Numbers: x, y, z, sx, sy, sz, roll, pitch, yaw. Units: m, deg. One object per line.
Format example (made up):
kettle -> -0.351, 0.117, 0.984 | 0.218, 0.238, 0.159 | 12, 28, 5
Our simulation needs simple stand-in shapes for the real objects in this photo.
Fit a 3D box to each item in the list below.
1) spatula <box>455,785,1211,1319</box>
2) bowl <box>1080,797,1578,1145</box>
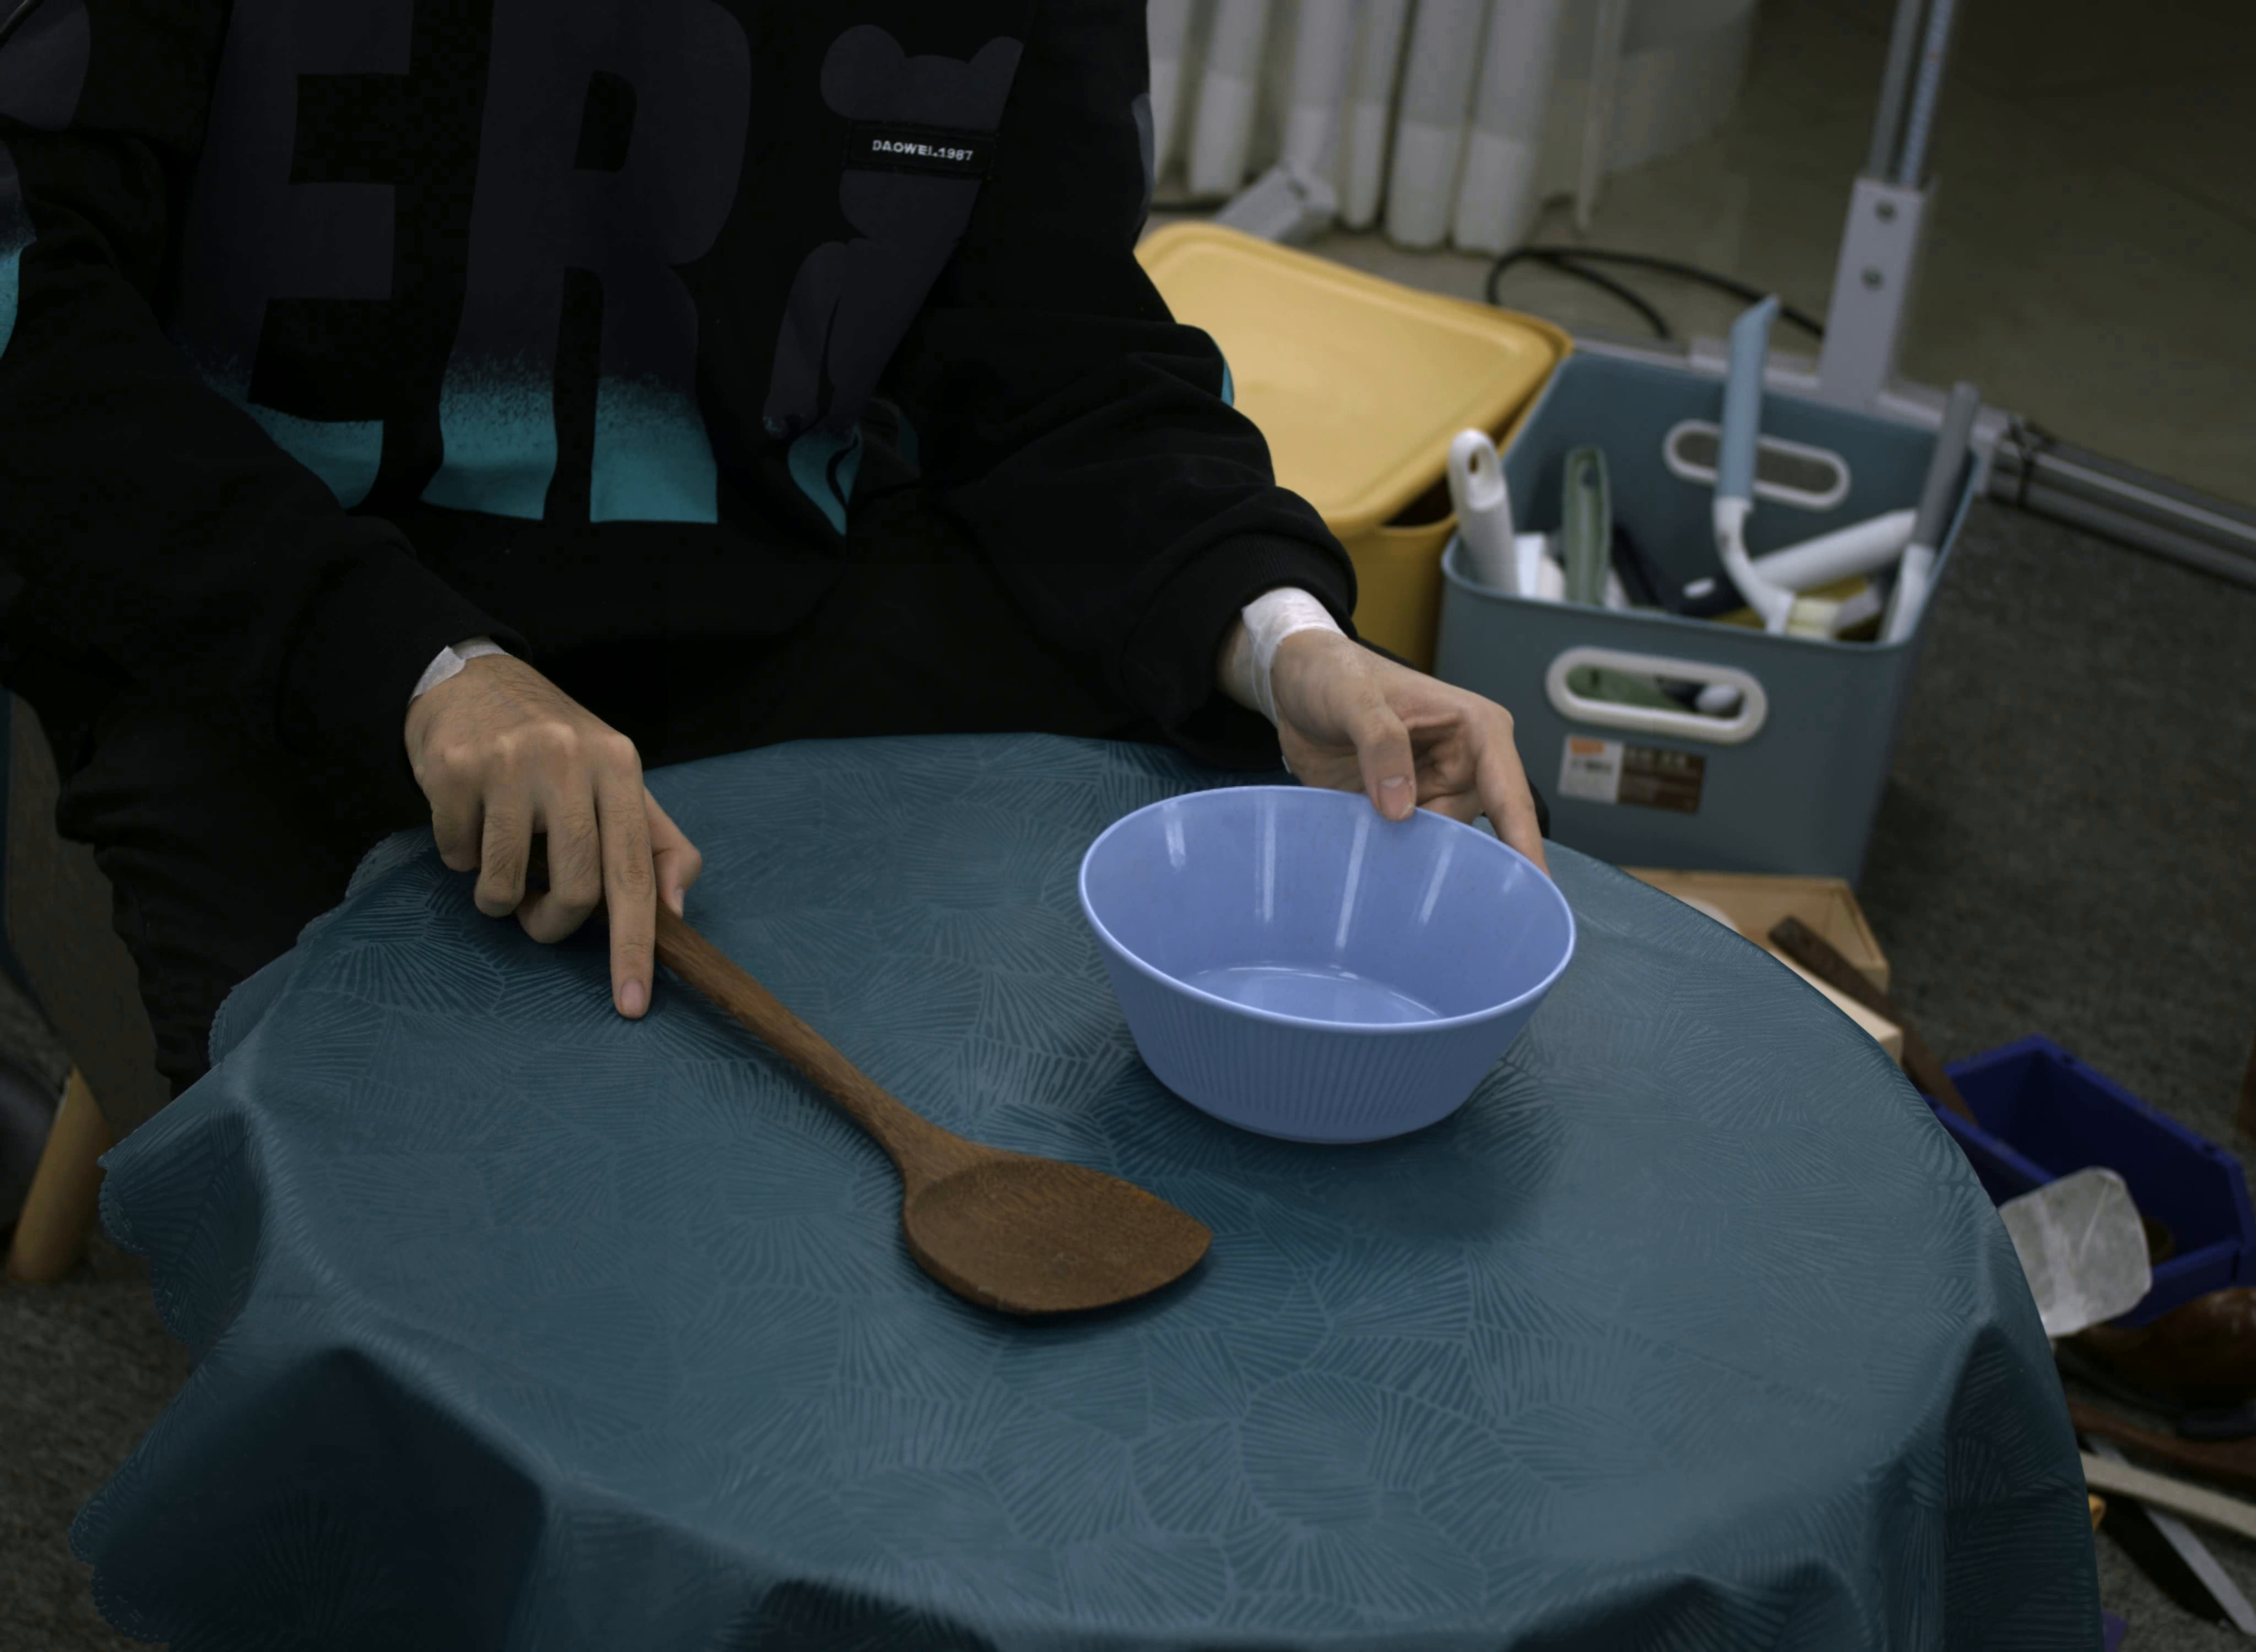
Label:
spatula -> -0.121, 0.070, 1.850 | 0.095, 0.016, 0.389 | -16, 37, -38
bowl -> 0.067, 0.056, 1.872 | 0.175, 0.070, 0.177 | 5, 25, -3
